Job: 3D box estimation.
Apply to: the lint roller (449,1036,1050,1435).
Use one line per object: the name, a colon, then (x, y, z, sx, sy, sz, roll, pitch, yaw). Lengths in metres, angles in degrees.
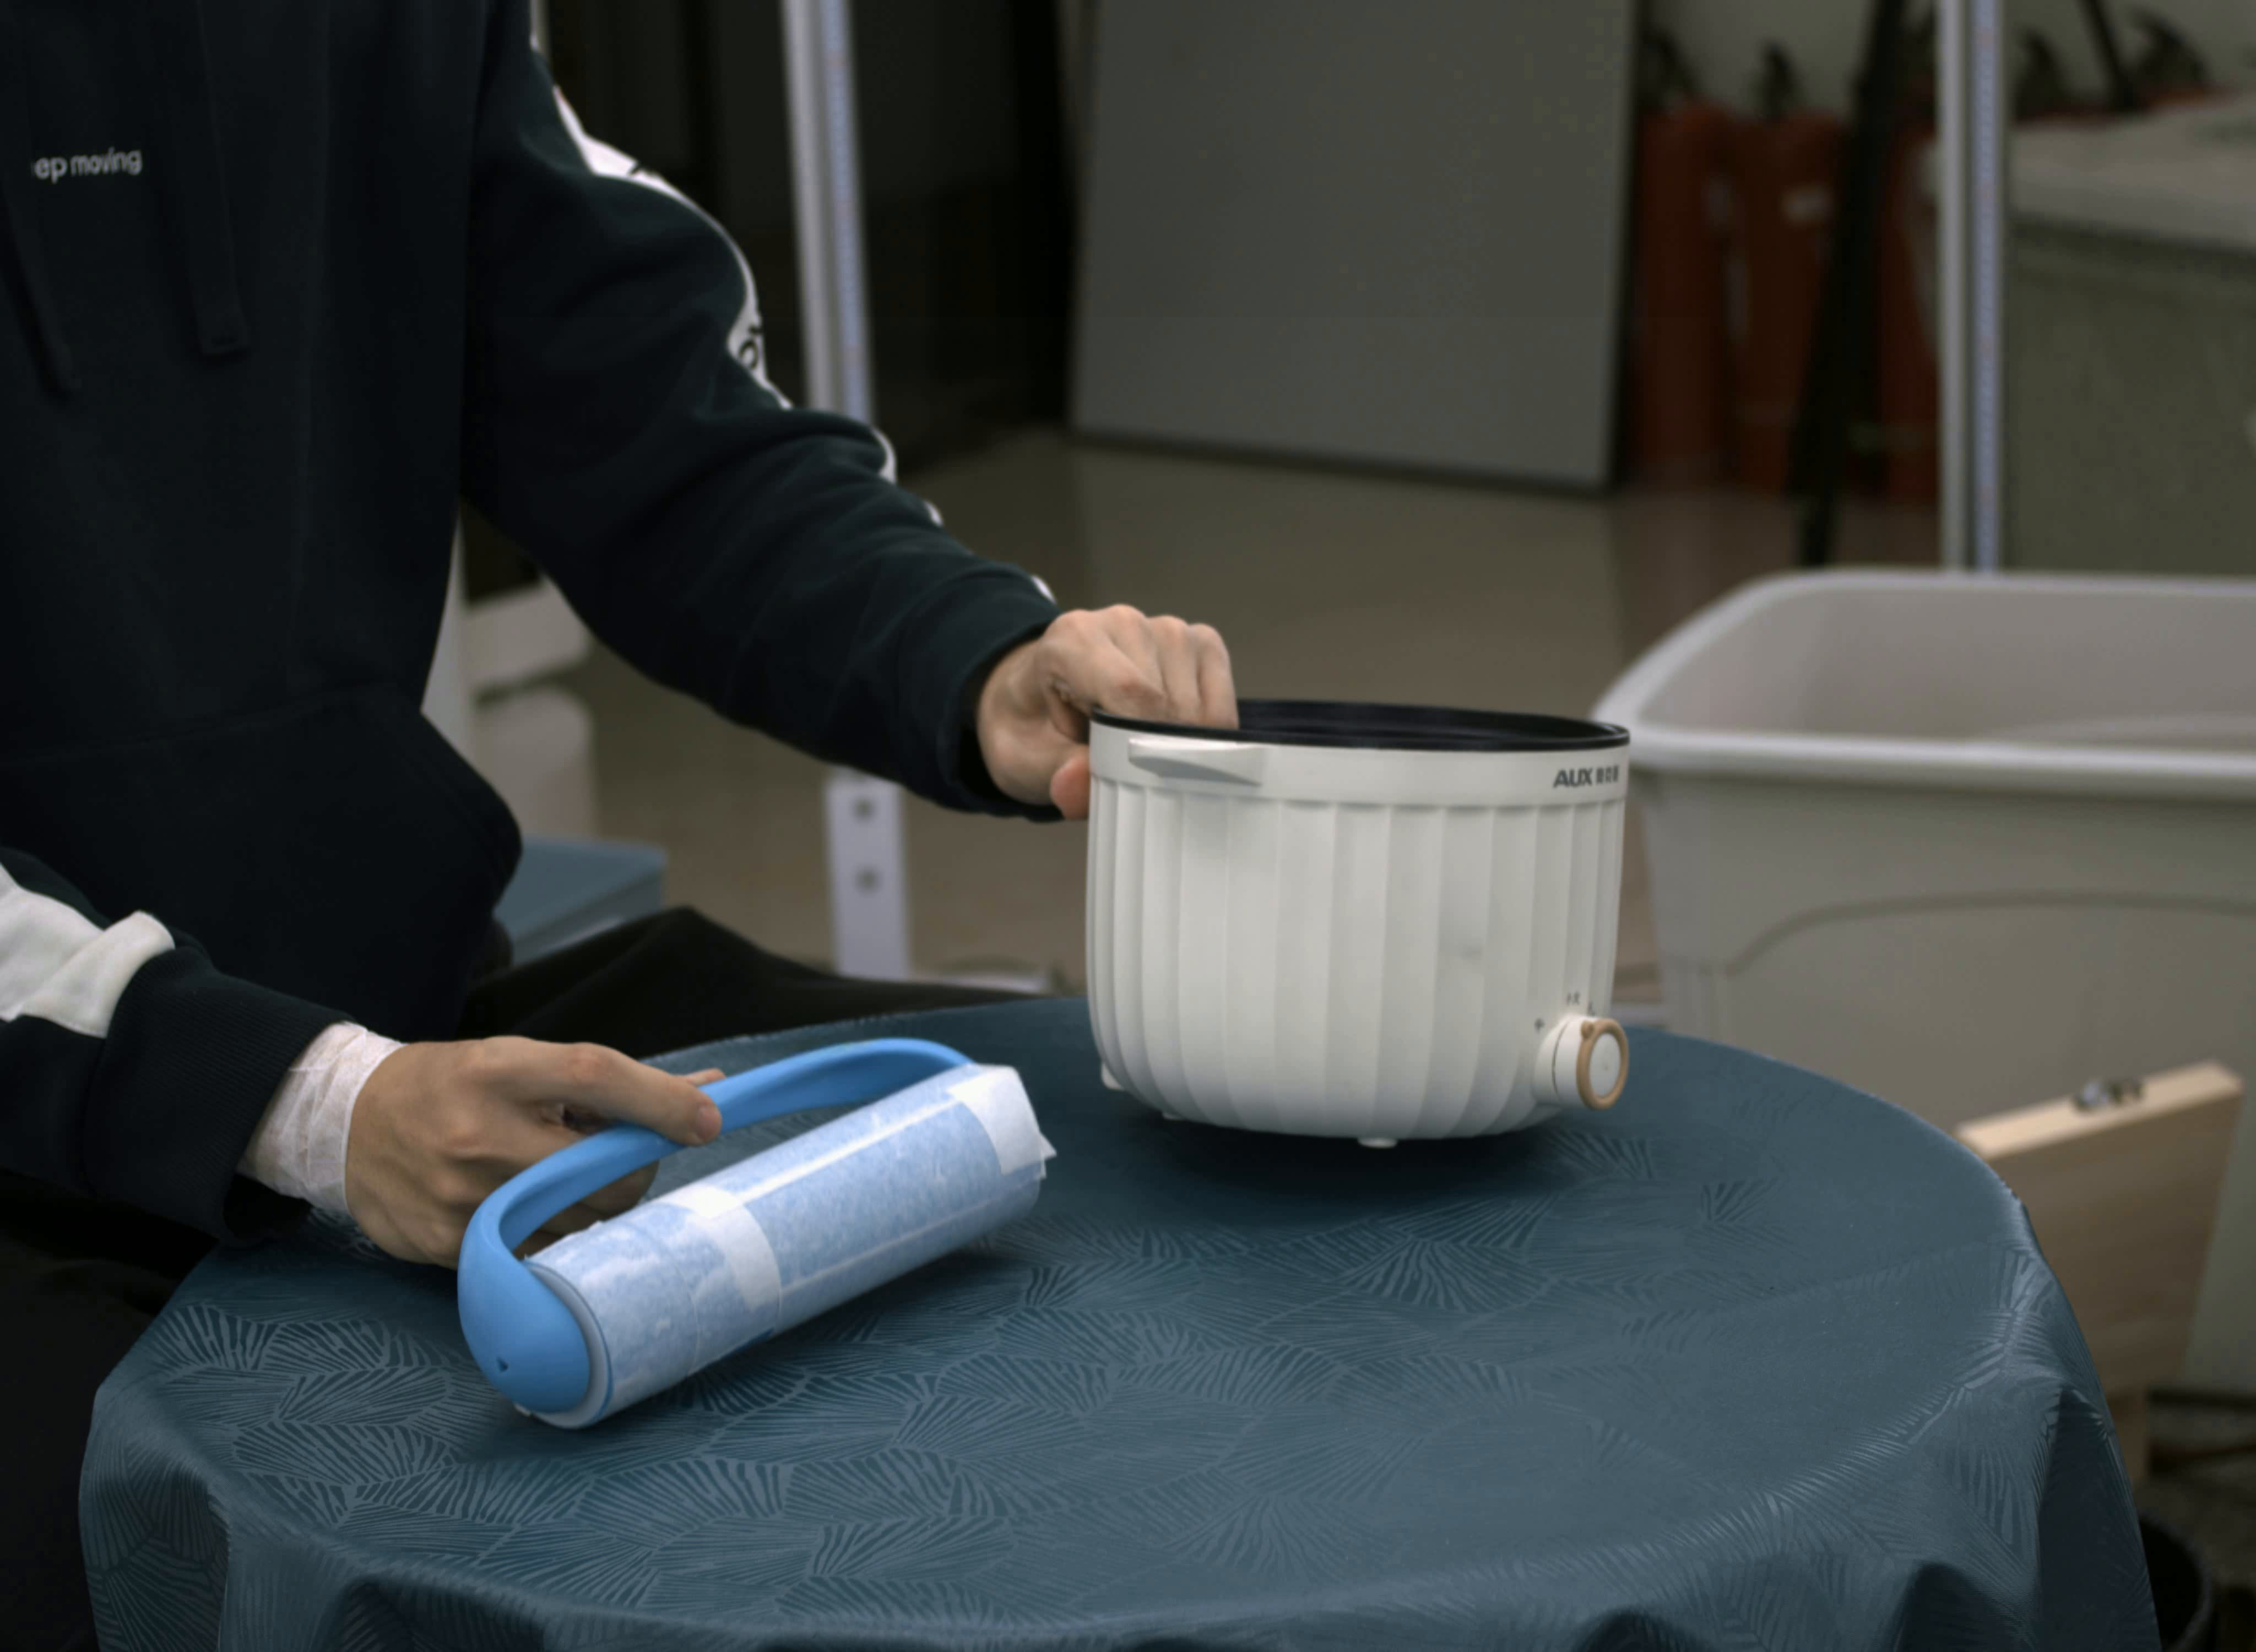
lint roller: (-0.150, 0.121, 1.683, 0.181, 0.068, 0.225, 4, 20, 38)

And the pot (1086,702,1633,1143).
pot: (0.079, 0.030, 1.793, 0.191, 0.144, 0.236, 0, 3, 35)
